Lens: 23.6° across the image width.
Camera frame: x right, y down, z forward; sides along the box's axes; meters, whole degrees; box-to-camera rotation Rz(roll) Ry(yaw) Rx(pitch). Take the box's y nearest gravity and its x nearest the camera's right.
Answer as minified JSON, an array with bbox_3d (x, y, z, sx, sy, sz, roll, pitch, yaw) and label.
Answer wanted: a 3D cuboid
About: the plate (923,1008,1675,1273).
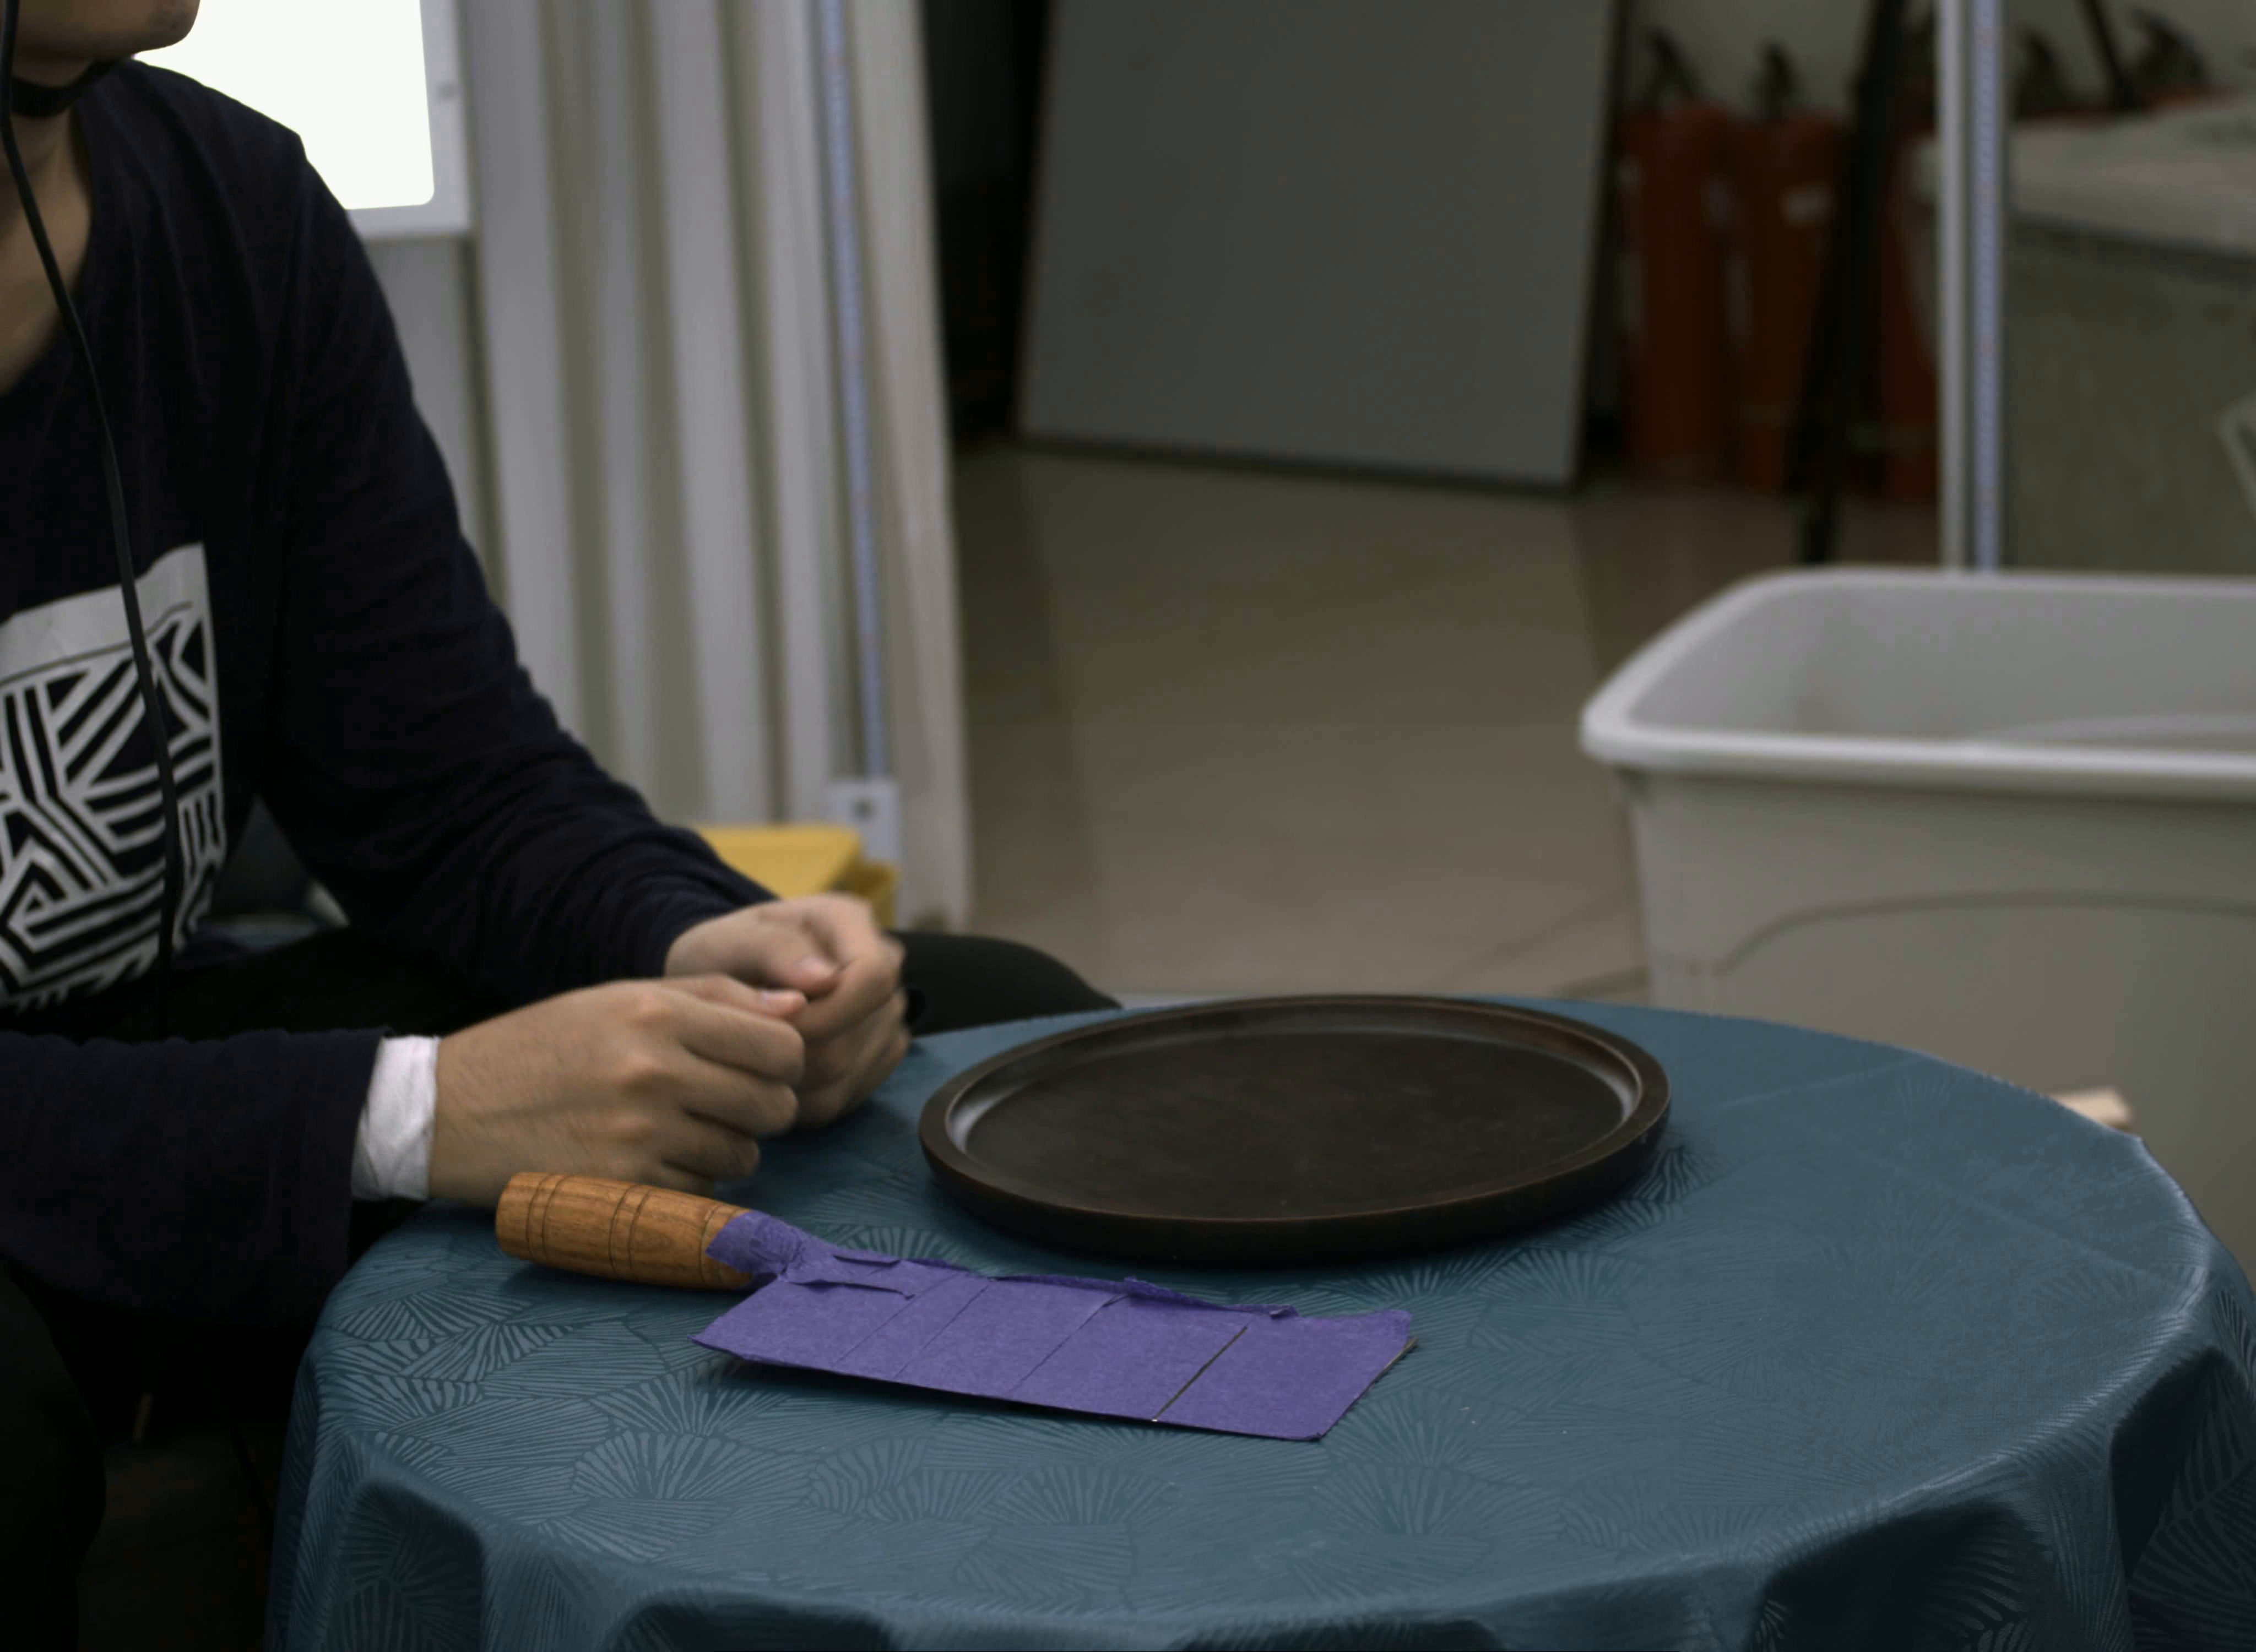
[{"bbox_3d":[0.057,0.102,1.790,0.251,0.029,0.255,-3,14,0],"label":"plate"}]

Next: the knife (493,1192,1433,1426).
[{"bbox_3d":[-0.067,0.146,1.637,0.315,0.032,0.102,3,15,25],"label":"knife"}]
